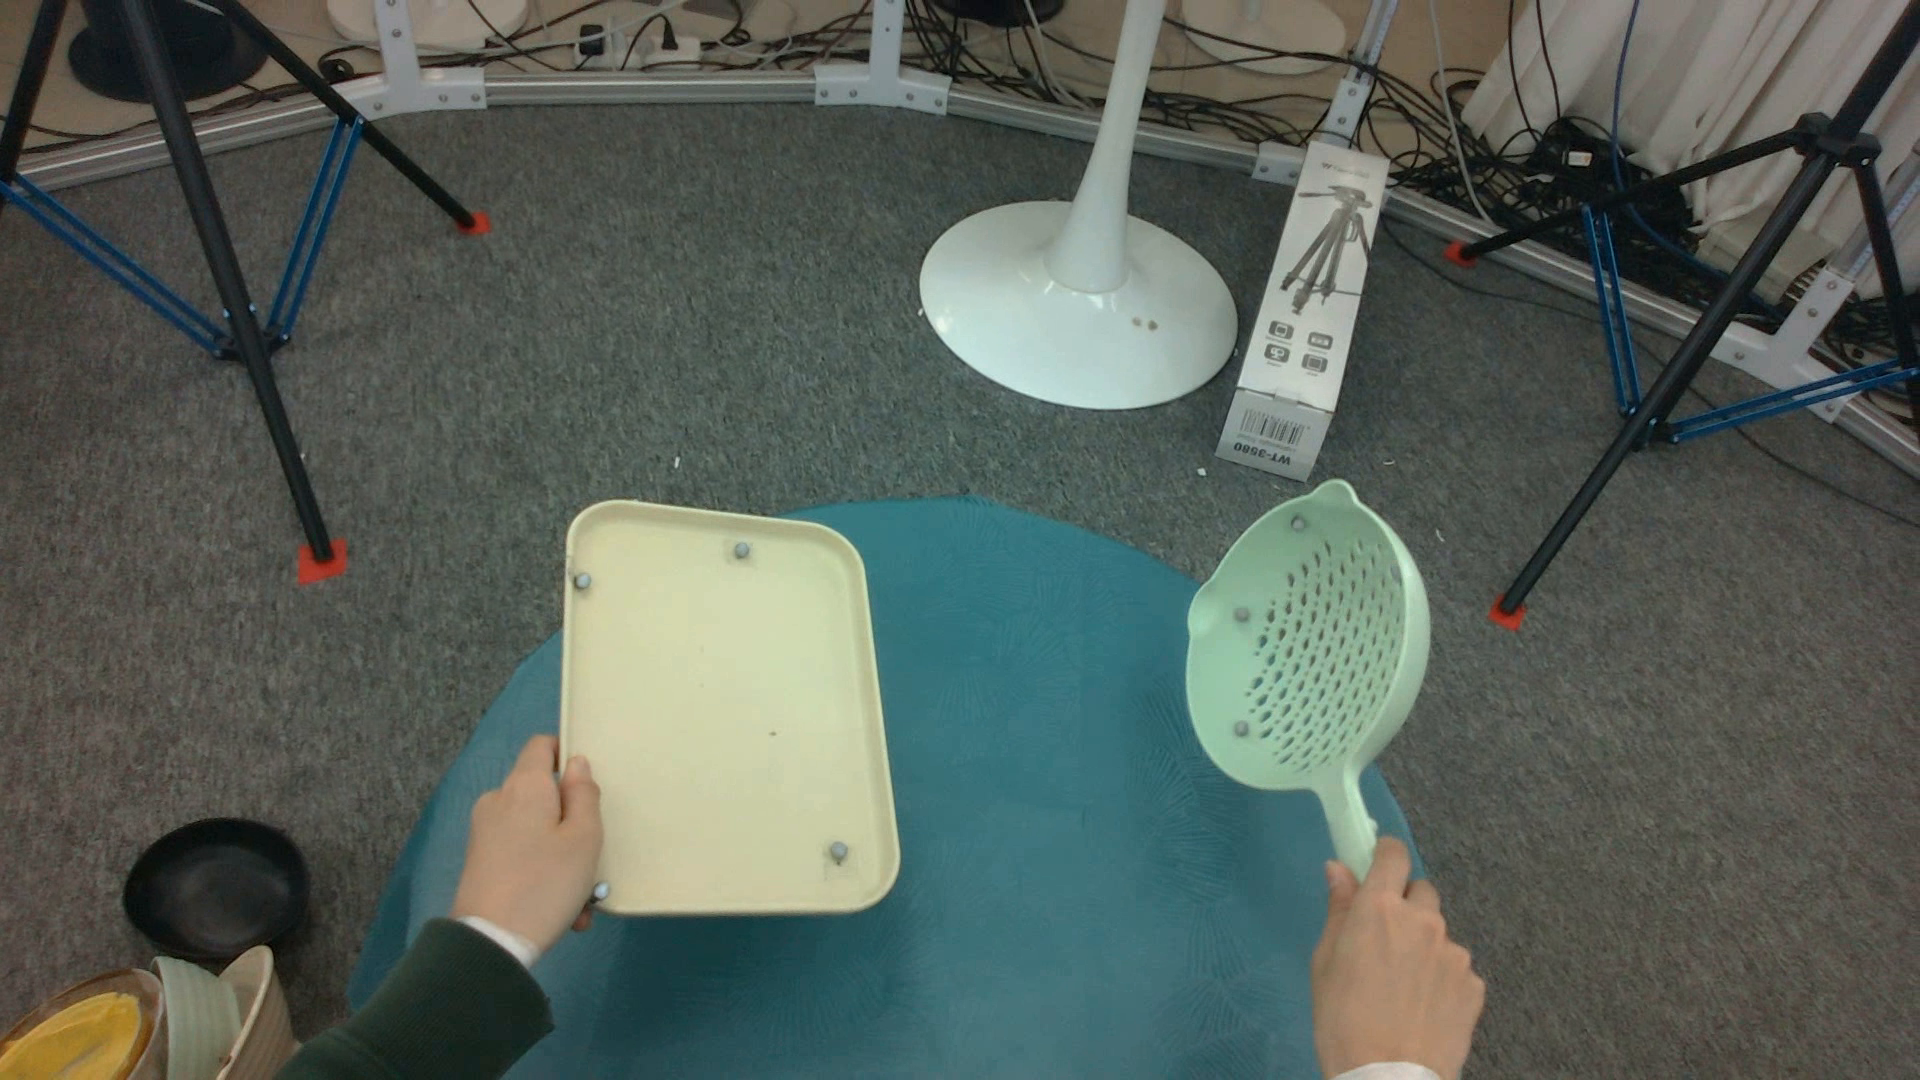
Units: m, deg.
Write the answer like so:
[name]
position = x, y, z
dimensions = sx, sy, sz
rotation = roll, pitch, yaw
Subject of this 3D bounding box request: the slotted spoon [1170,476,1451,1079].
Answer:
[slotted spoon]
position = 0.196, 0.130, 0.721
dimensions = 0.075, 0.168, 0.360
rotation = 26, 41, -23

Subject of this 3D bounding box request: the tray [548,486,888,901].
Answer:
[tray]
position = -0.130, 0.077, 0.728
dimensions = 0.171, 0.017, 0.240
rotation = 7, 52, -24
